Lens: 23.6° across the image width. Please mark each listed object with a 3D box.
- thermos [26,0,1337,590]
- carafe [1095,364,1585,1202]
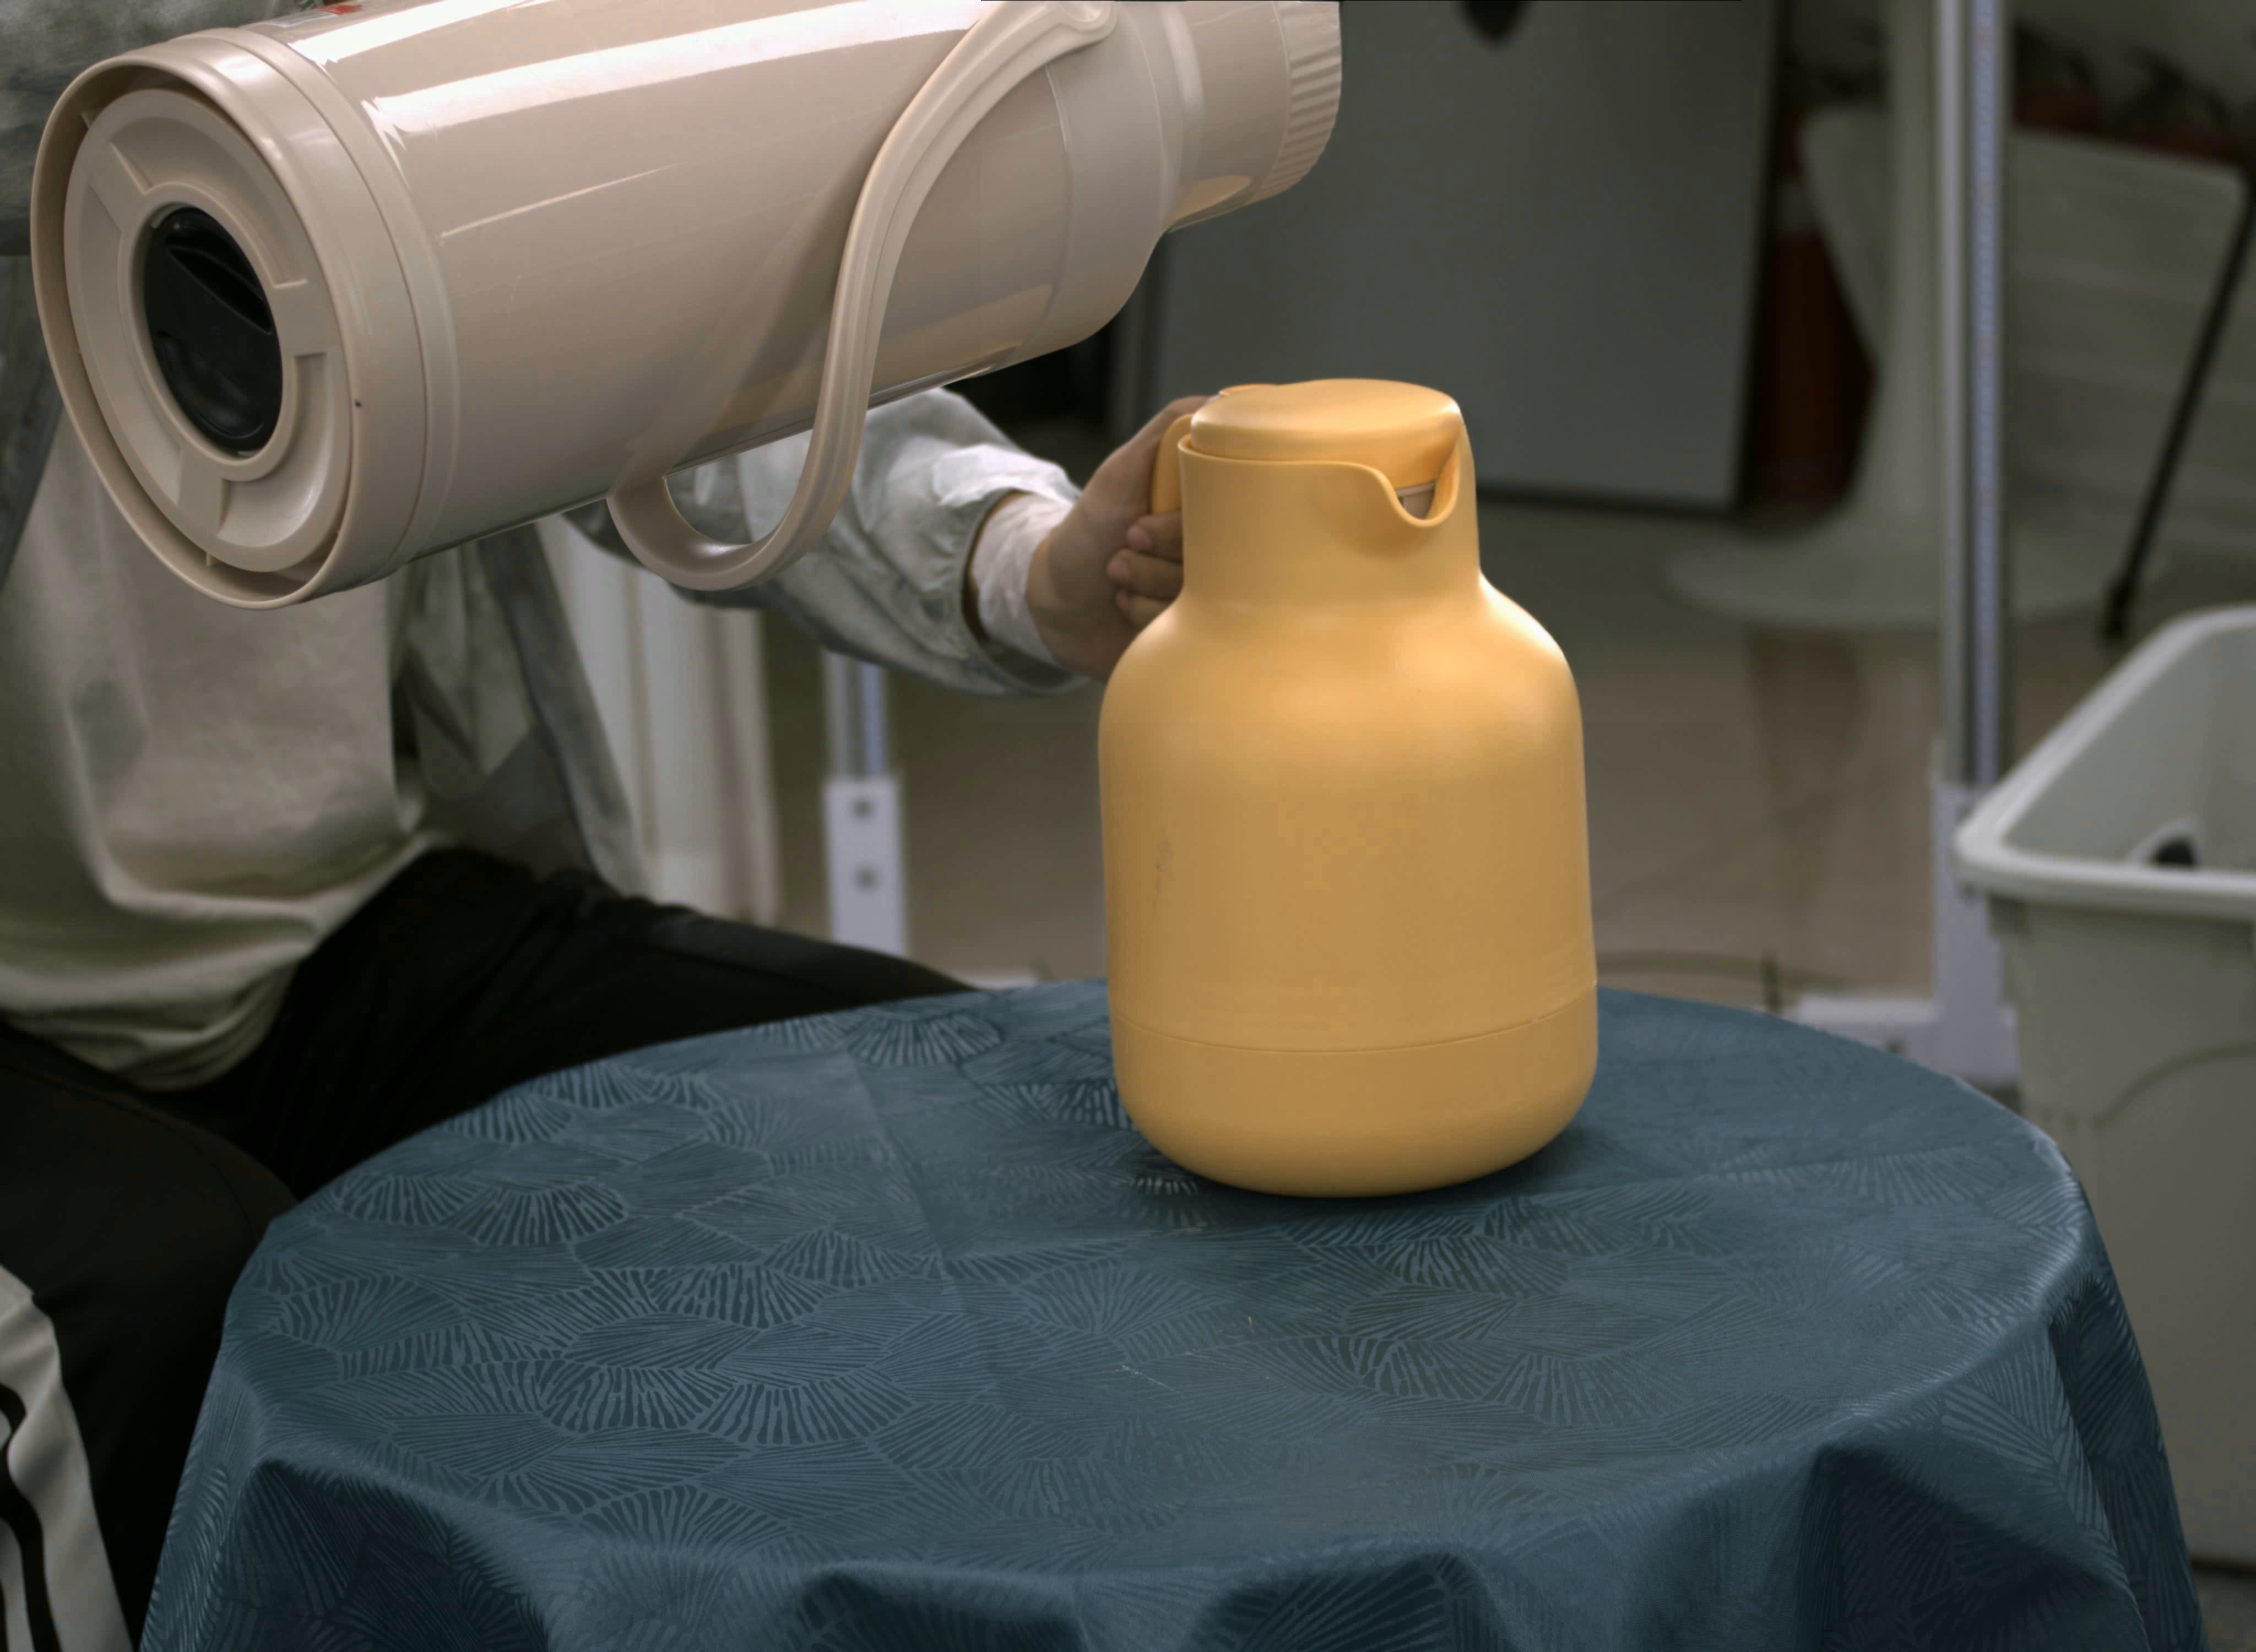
[{"bbox_3d":[-0.121,-0.210,1.601,0.398,0.209,0.177,-22,-8,-36],"label":"thermos"},{"bbox_3d":[0.063,-0.022,1.788,0.160,0.263,0.204,-6,14,-20],"label":"carafe"}]
